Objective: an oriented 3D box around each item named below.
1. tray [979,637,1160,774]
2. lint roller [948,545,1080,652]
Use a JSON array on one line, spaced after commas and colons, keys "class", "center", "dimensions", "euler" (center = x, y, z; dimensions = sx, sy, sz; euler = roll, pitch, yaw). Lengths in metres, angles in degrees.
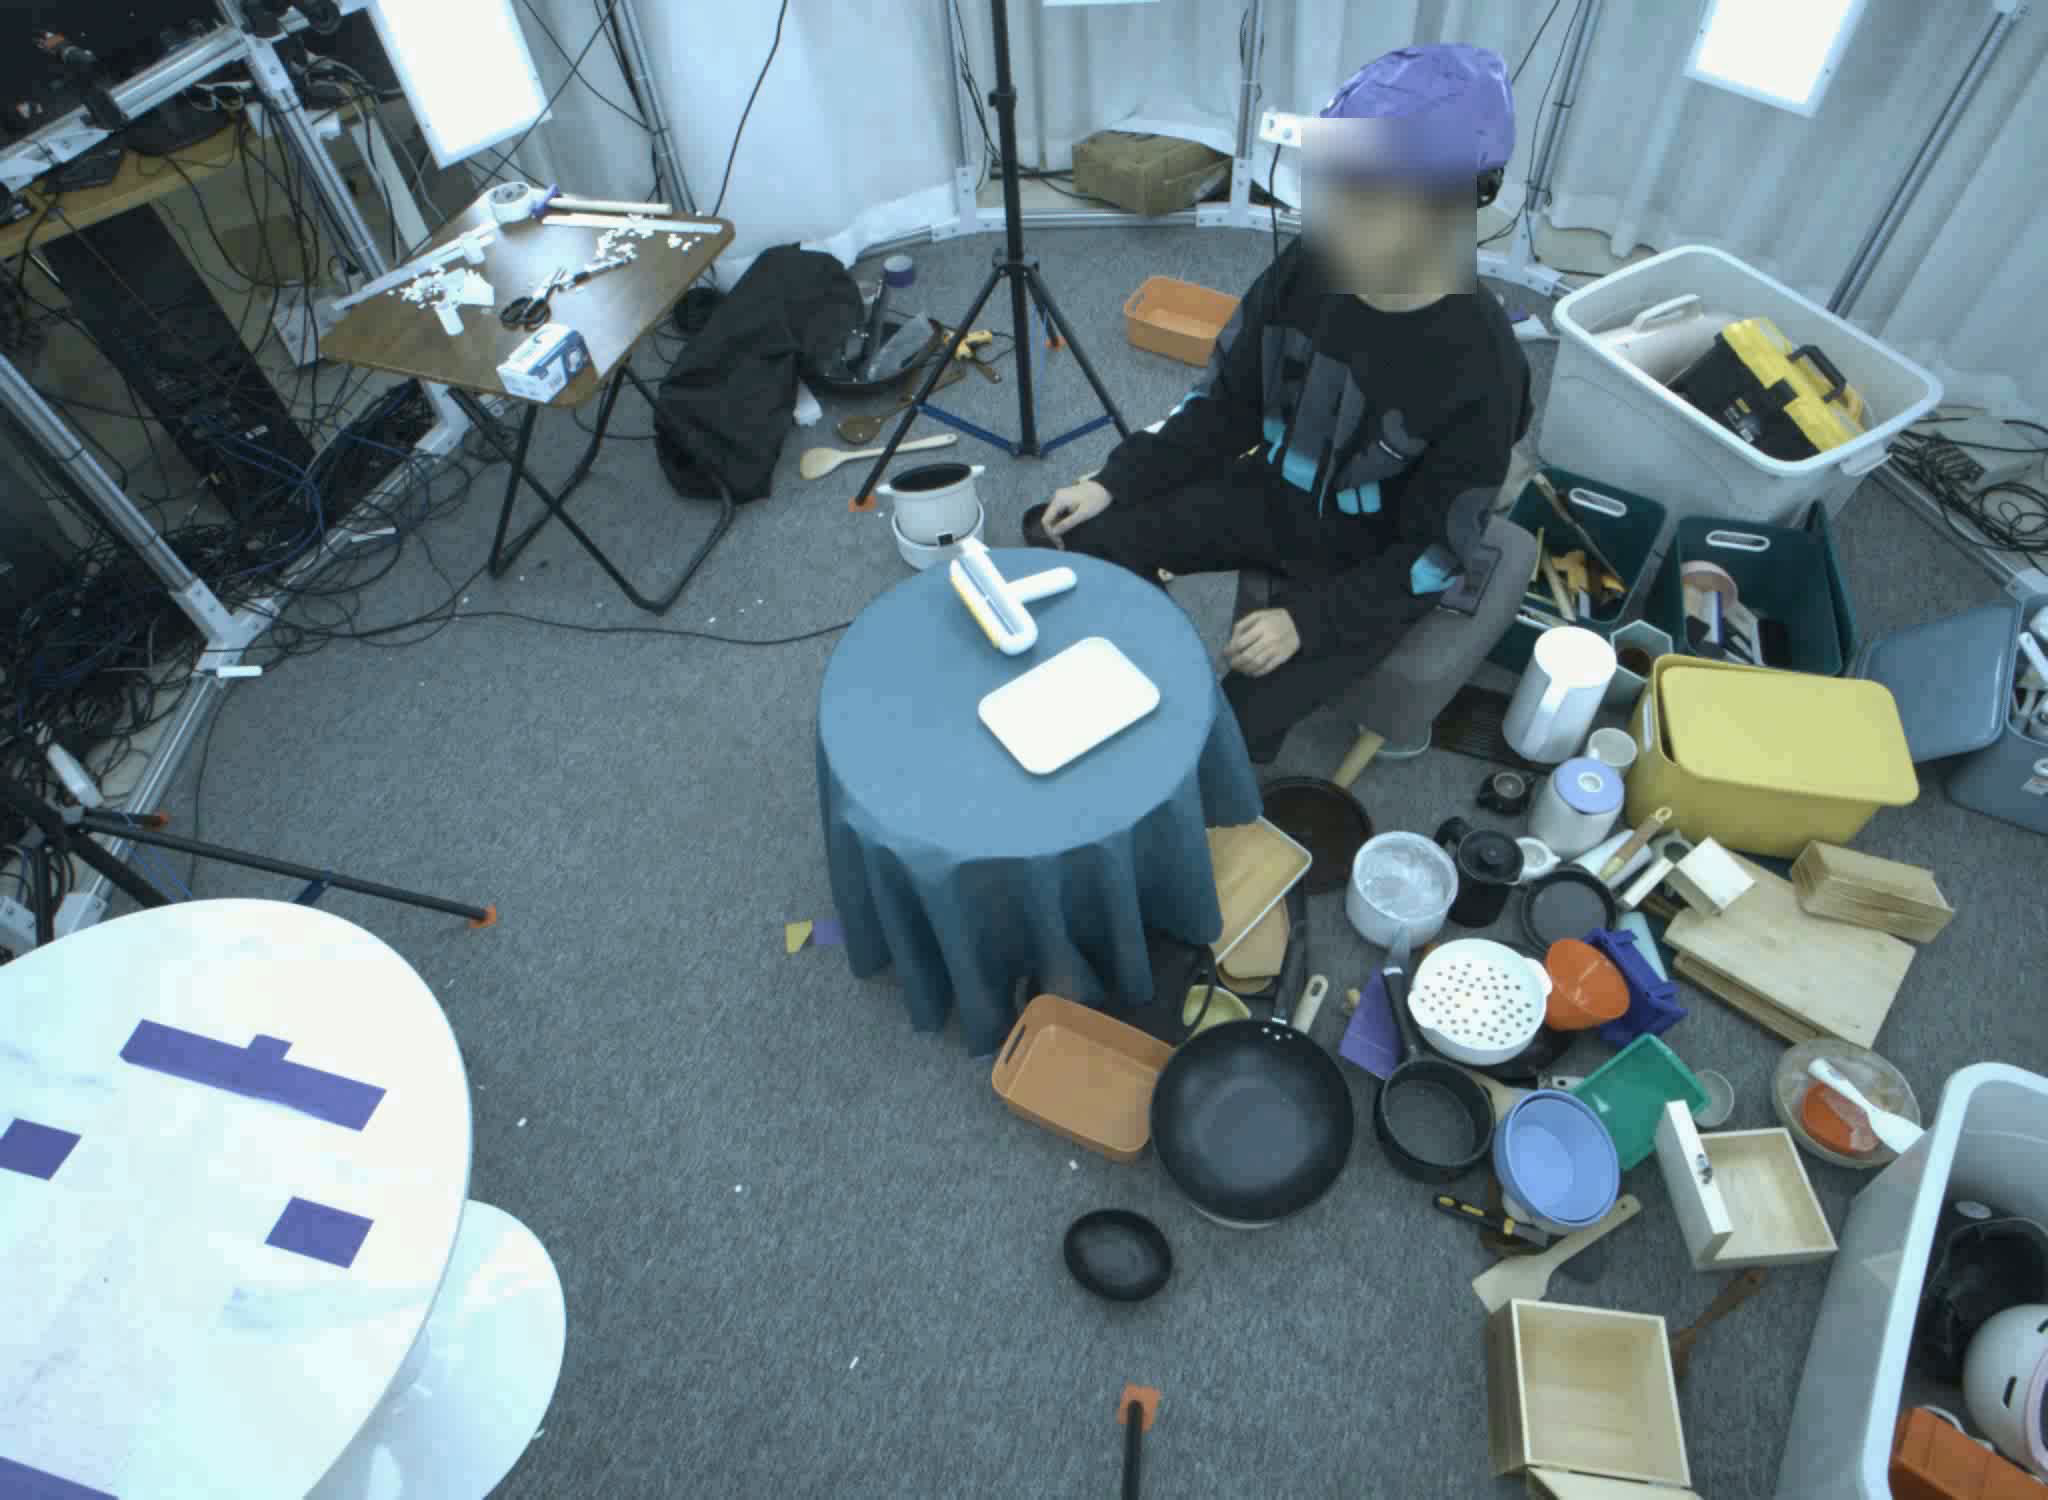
[{"class": "tray", "center": [0.067, -0.067, 1.817], "dimensions": [0.241, 0.017, 0.168], "euler": [-31, 59, -18]}, {"class": "lint roller", "center": [0.000, -0.253, 1.921], "dimensions": [0.194, 0.075, 0.189], "euler": [-24, 62, -16]}]
